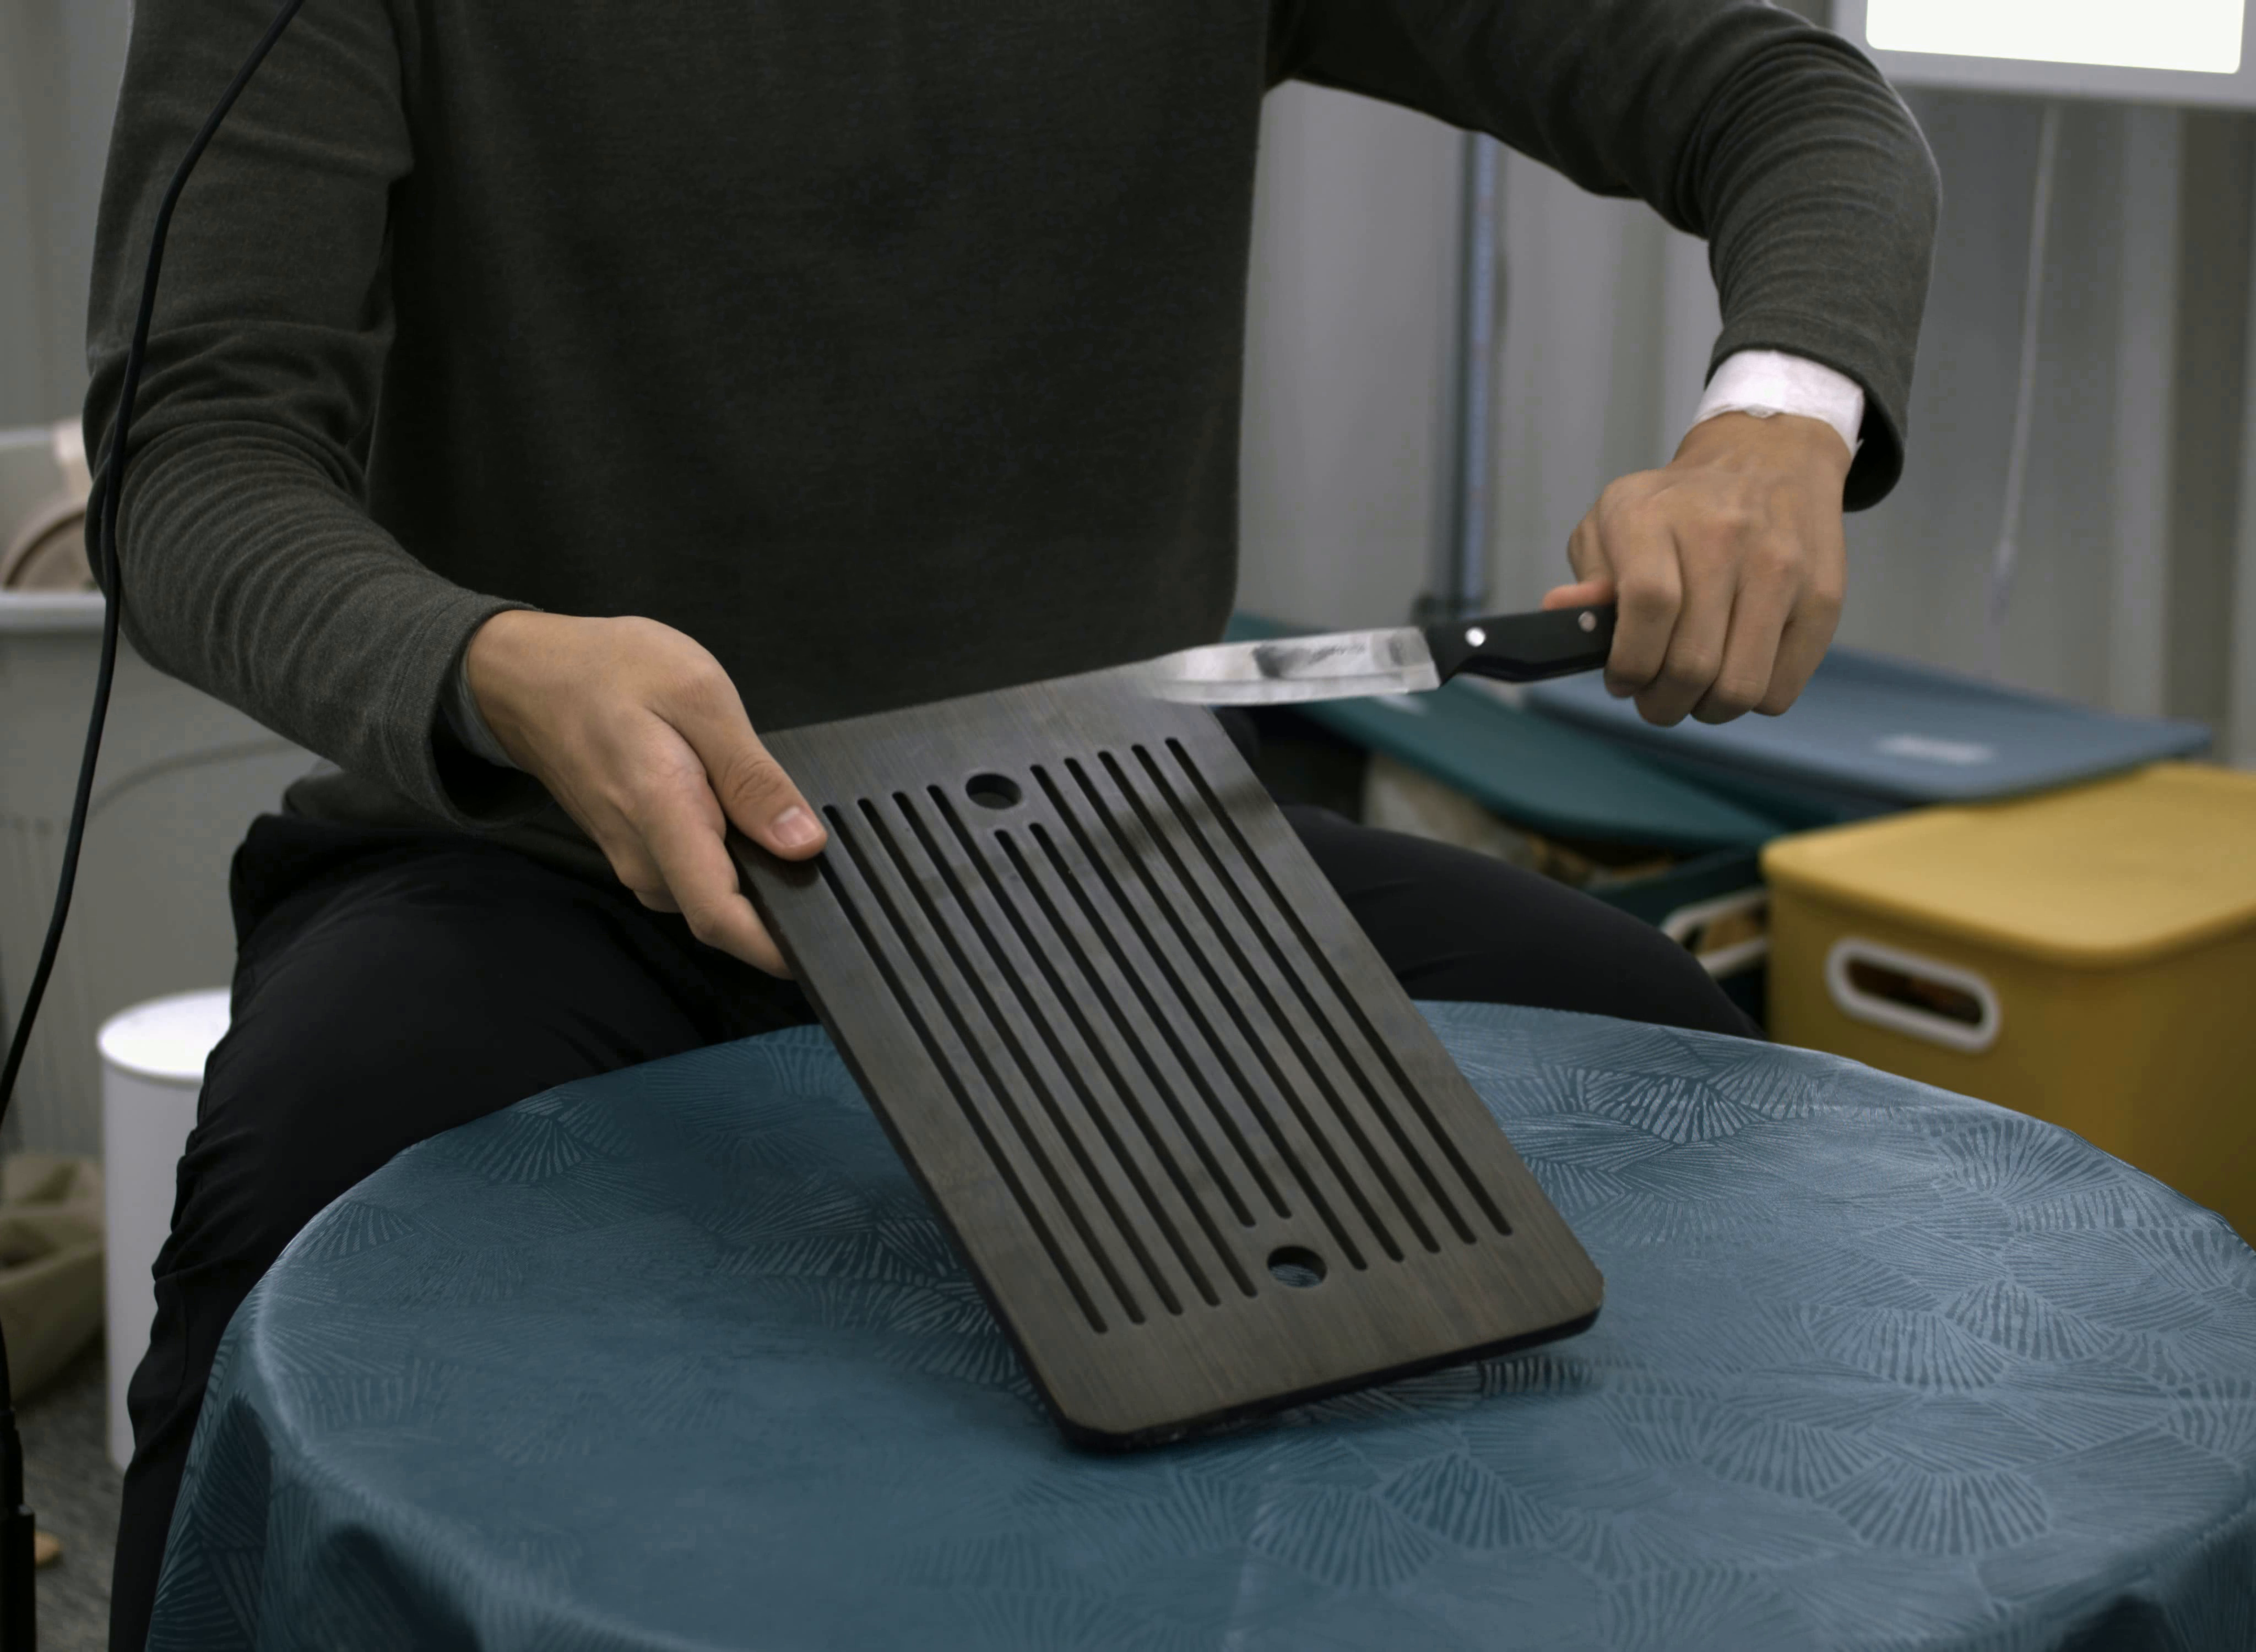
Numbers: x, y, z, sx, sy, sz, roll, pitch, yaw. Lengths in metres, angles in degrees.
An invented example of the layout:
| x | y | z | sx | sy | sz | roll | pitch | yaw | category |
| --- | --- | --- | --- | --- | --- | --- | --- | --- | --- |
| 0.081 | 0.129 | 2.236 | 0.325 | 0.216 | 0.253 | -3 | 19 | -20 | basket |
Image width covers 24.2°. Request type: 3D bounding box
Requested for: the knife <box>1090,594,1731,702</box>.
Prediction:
| x | y | z | sx | sy | sz | roll | pitch | yaw | category |
| --- | --- | --- | --- | --- | --- | --- | --- | --- | --- |
| 0.090 | -0.056 | 1.650 | 0.239 | 0.024 | 0.016 | -6 | -17 | -31 | knife |

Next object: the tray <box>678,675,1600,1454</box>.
| x | y | z | sx | sy | sz | roll | pitch | yaw | category |
| --- | --- | --- | --- | --- | --- | --- | --- | --- | --- |
| -0.003 | 0.063 | 1.540 | 0.170 | 0.019 | 0.302 | -11 | 44 | -24 | tray |
